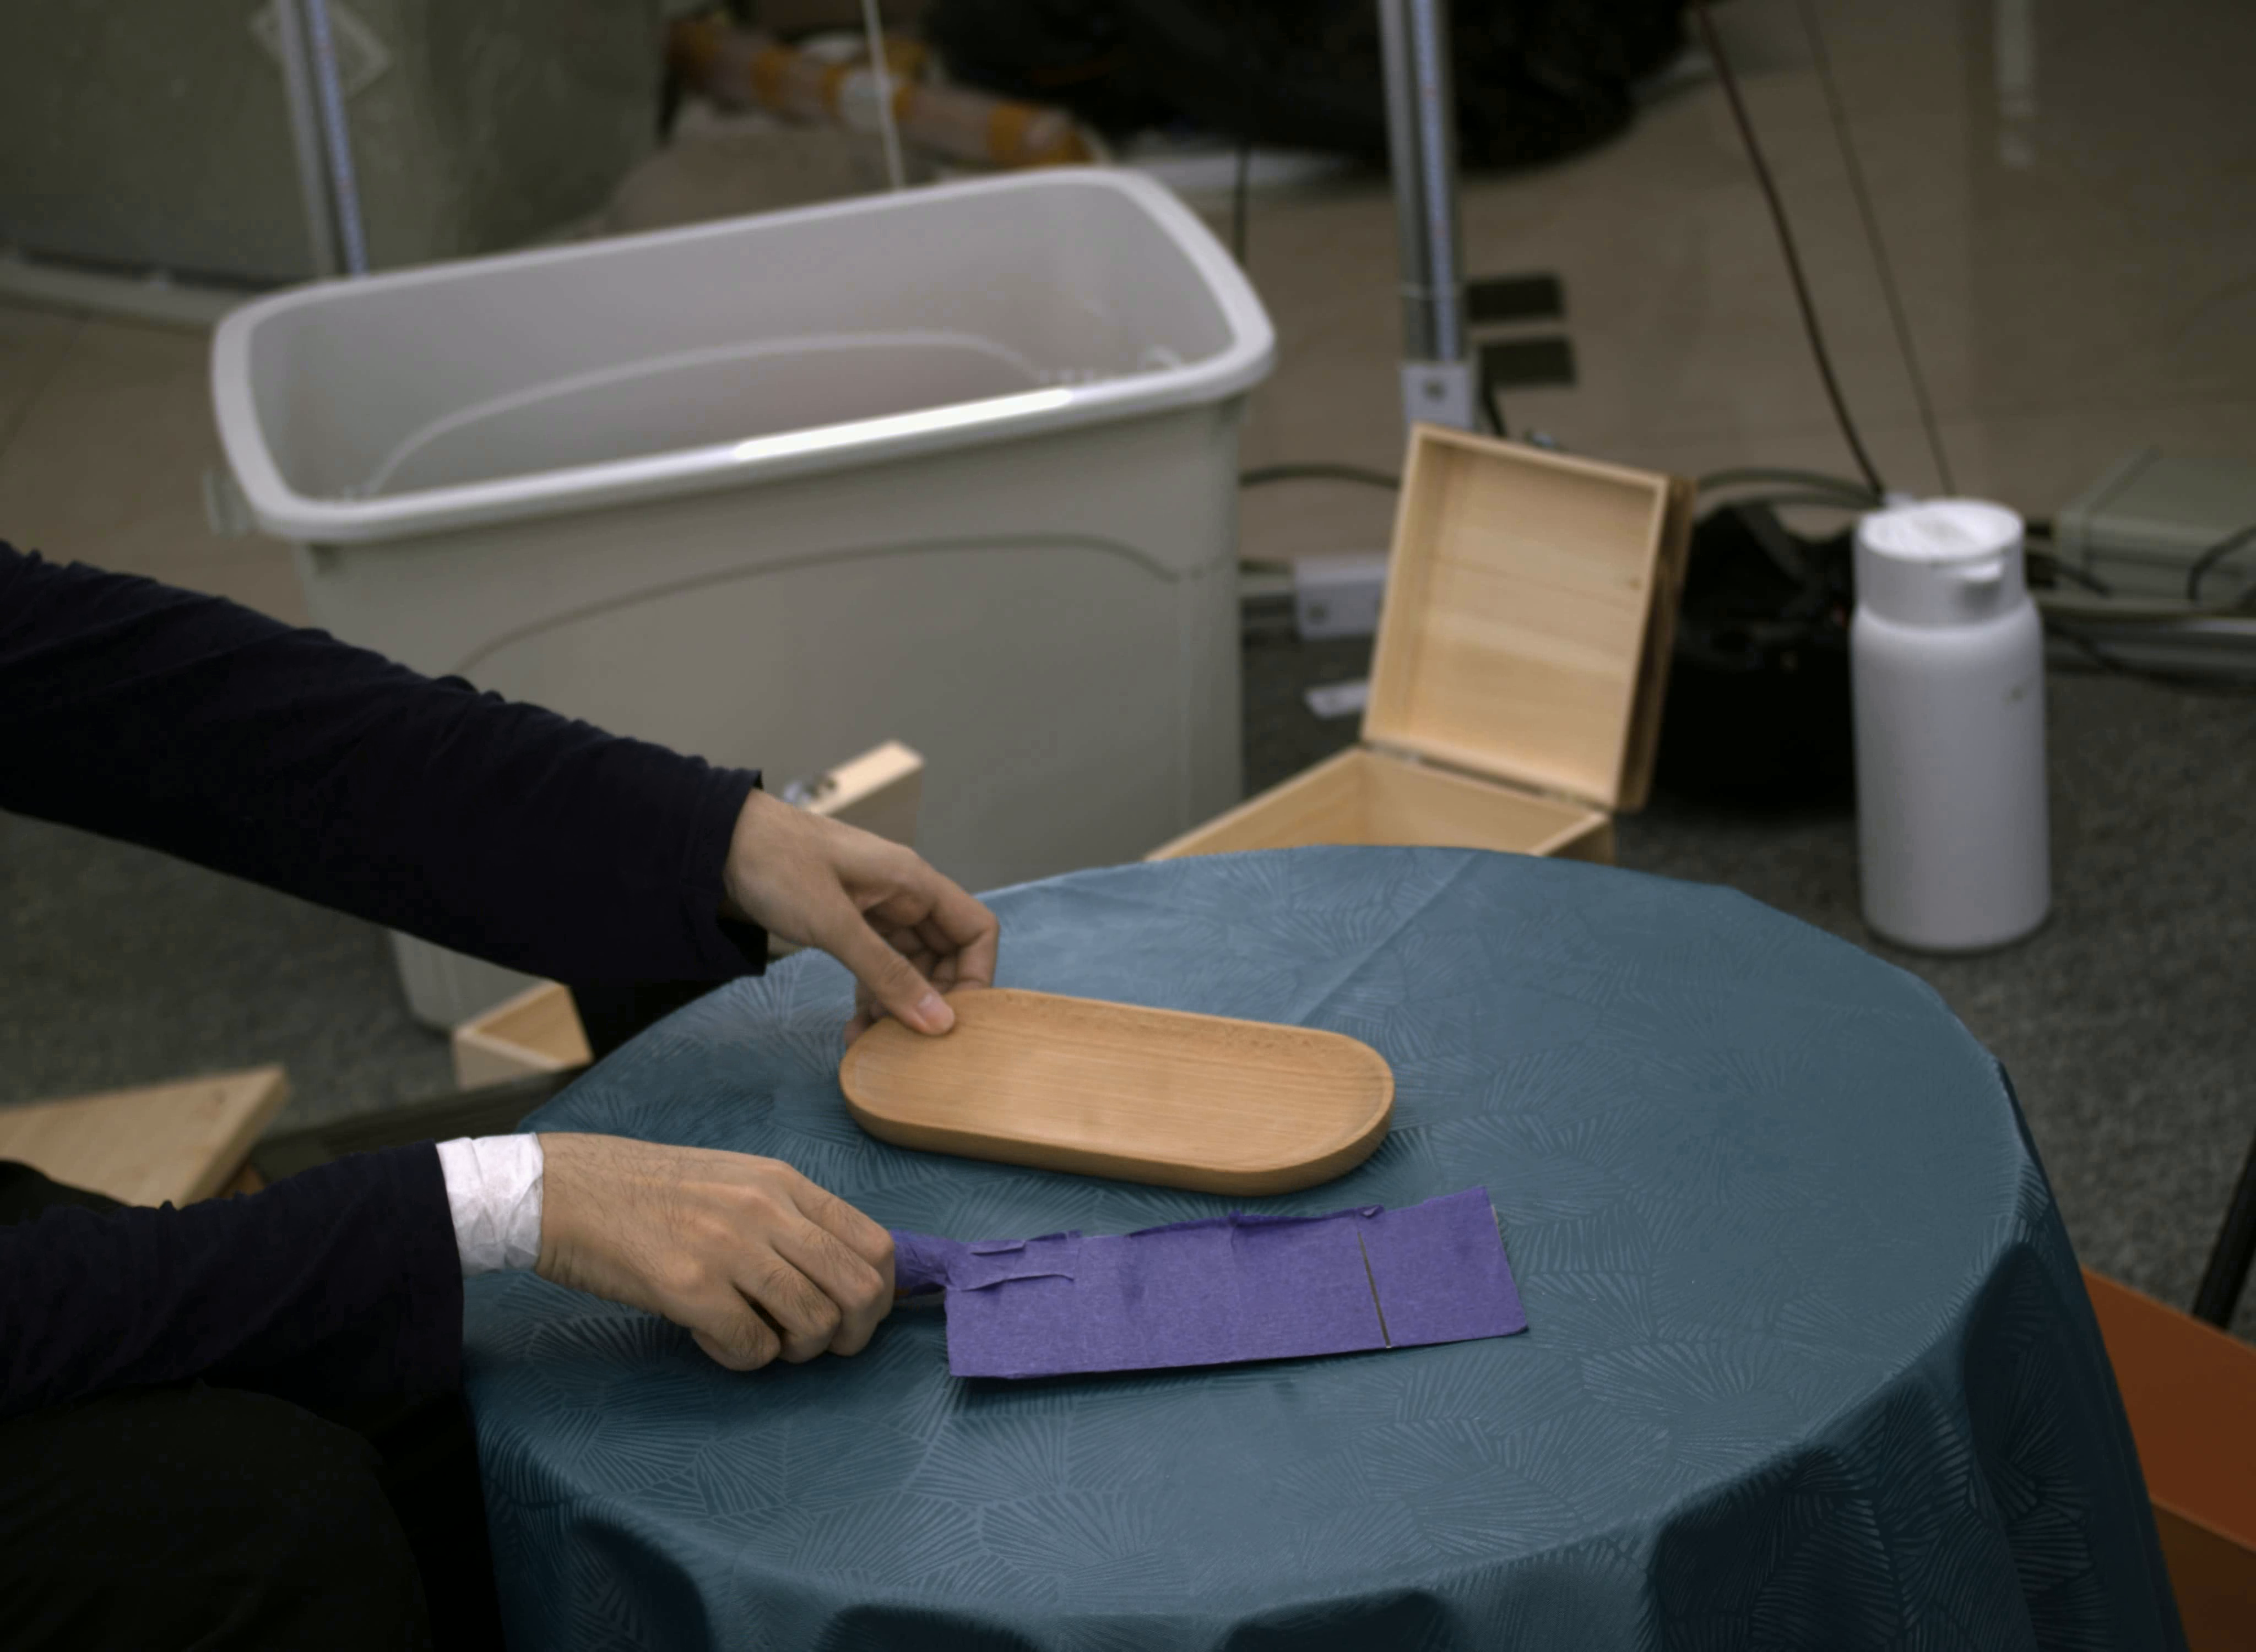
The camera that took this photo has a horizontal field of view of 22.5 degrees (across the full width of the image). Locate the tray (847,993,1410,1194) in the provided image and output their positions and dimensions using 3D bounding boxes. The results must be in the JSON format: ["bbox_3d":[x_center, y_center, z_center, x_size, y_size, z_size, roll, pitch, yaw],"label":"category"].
[{"bbox_3d":[-0.001,0.104,2.200,0.230,0.021,0.100,7,34,23],"label":"tray"}]

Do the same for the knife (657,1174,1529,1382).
[{"bbox_3d":[-0.014,0.168,2.059,0.315,0.033,0.102,-7,27,-1],"label":"knife"}]
